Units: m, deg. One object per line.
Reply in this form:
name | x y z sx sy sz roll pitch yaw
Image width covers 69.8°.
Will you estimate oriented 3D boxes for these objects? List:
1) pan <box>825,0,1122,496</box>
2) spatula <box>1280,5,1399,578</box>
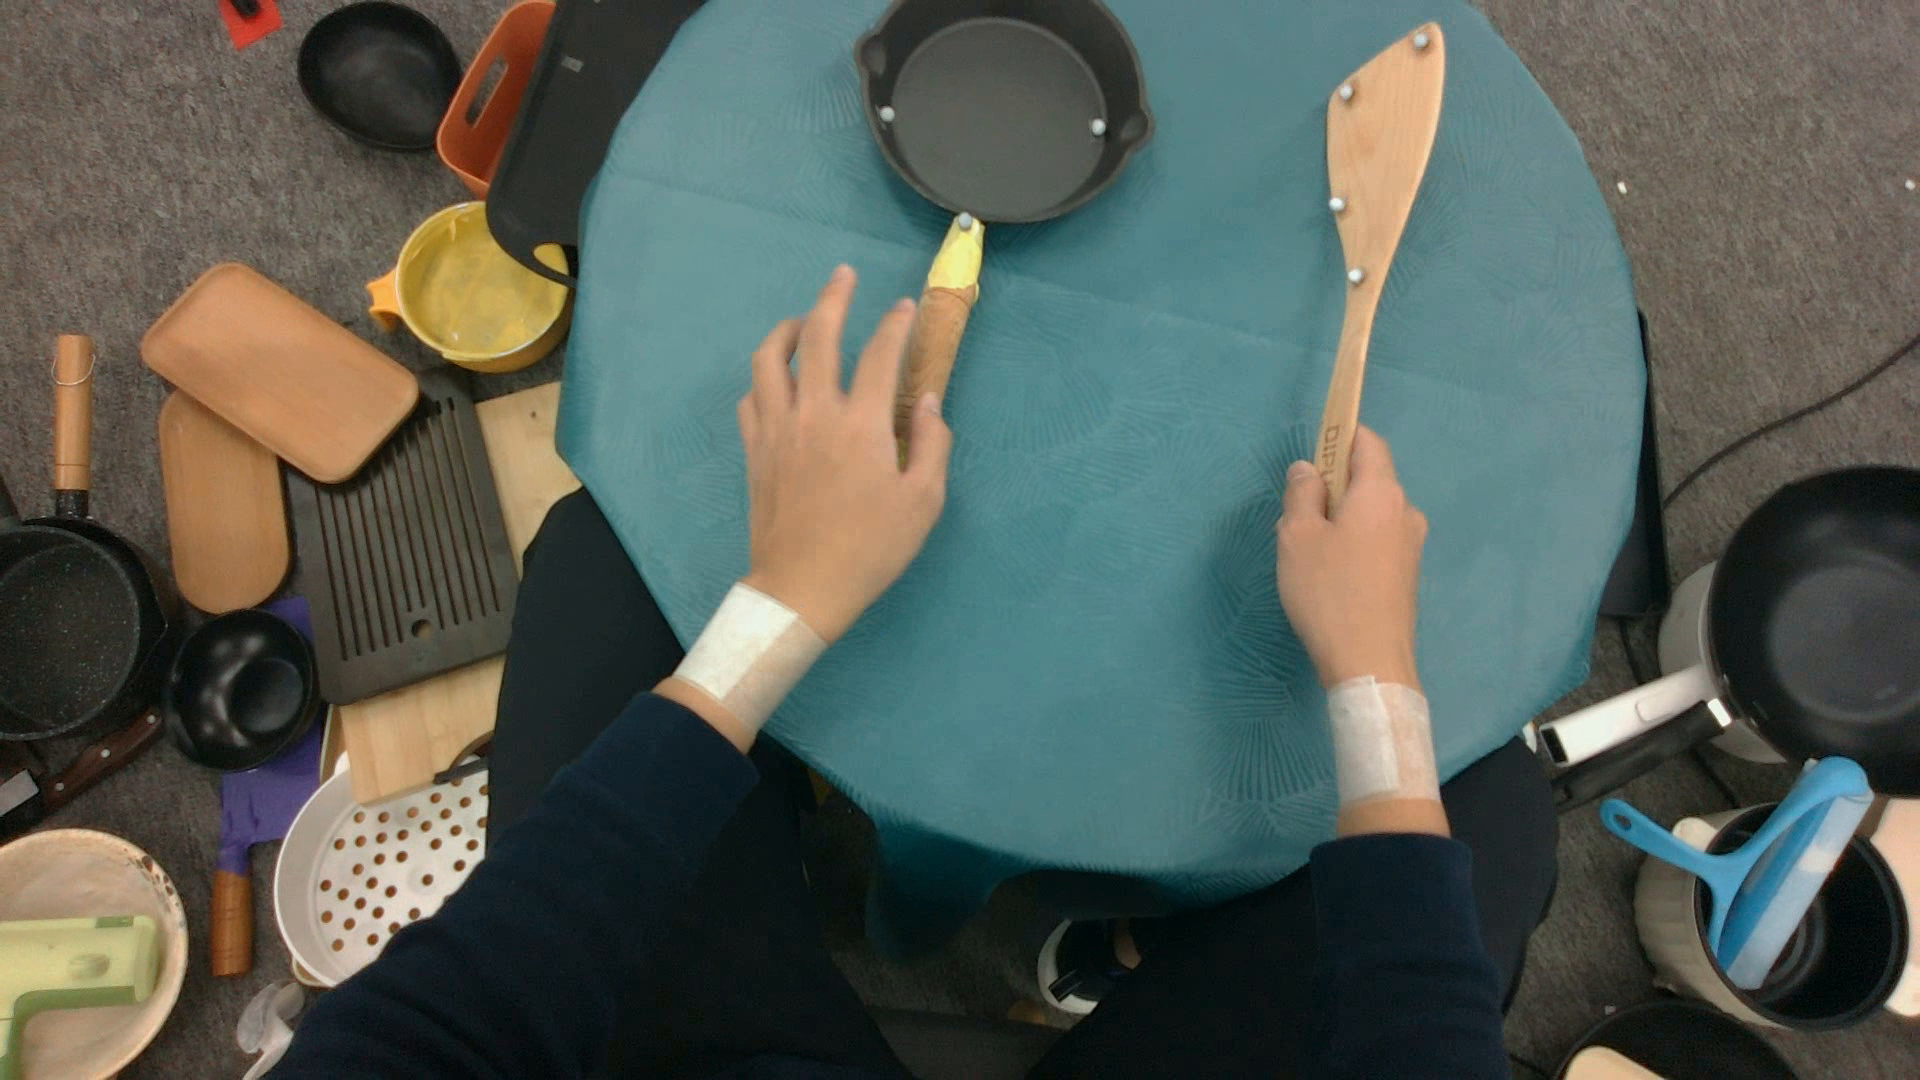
pan | -0.014 -0.172 0.742 0.169 0.049 0.325 16 74 -2
spatula | 0.193 -0.135 0.735 0.016 0.079 0.328 21 68 -27
